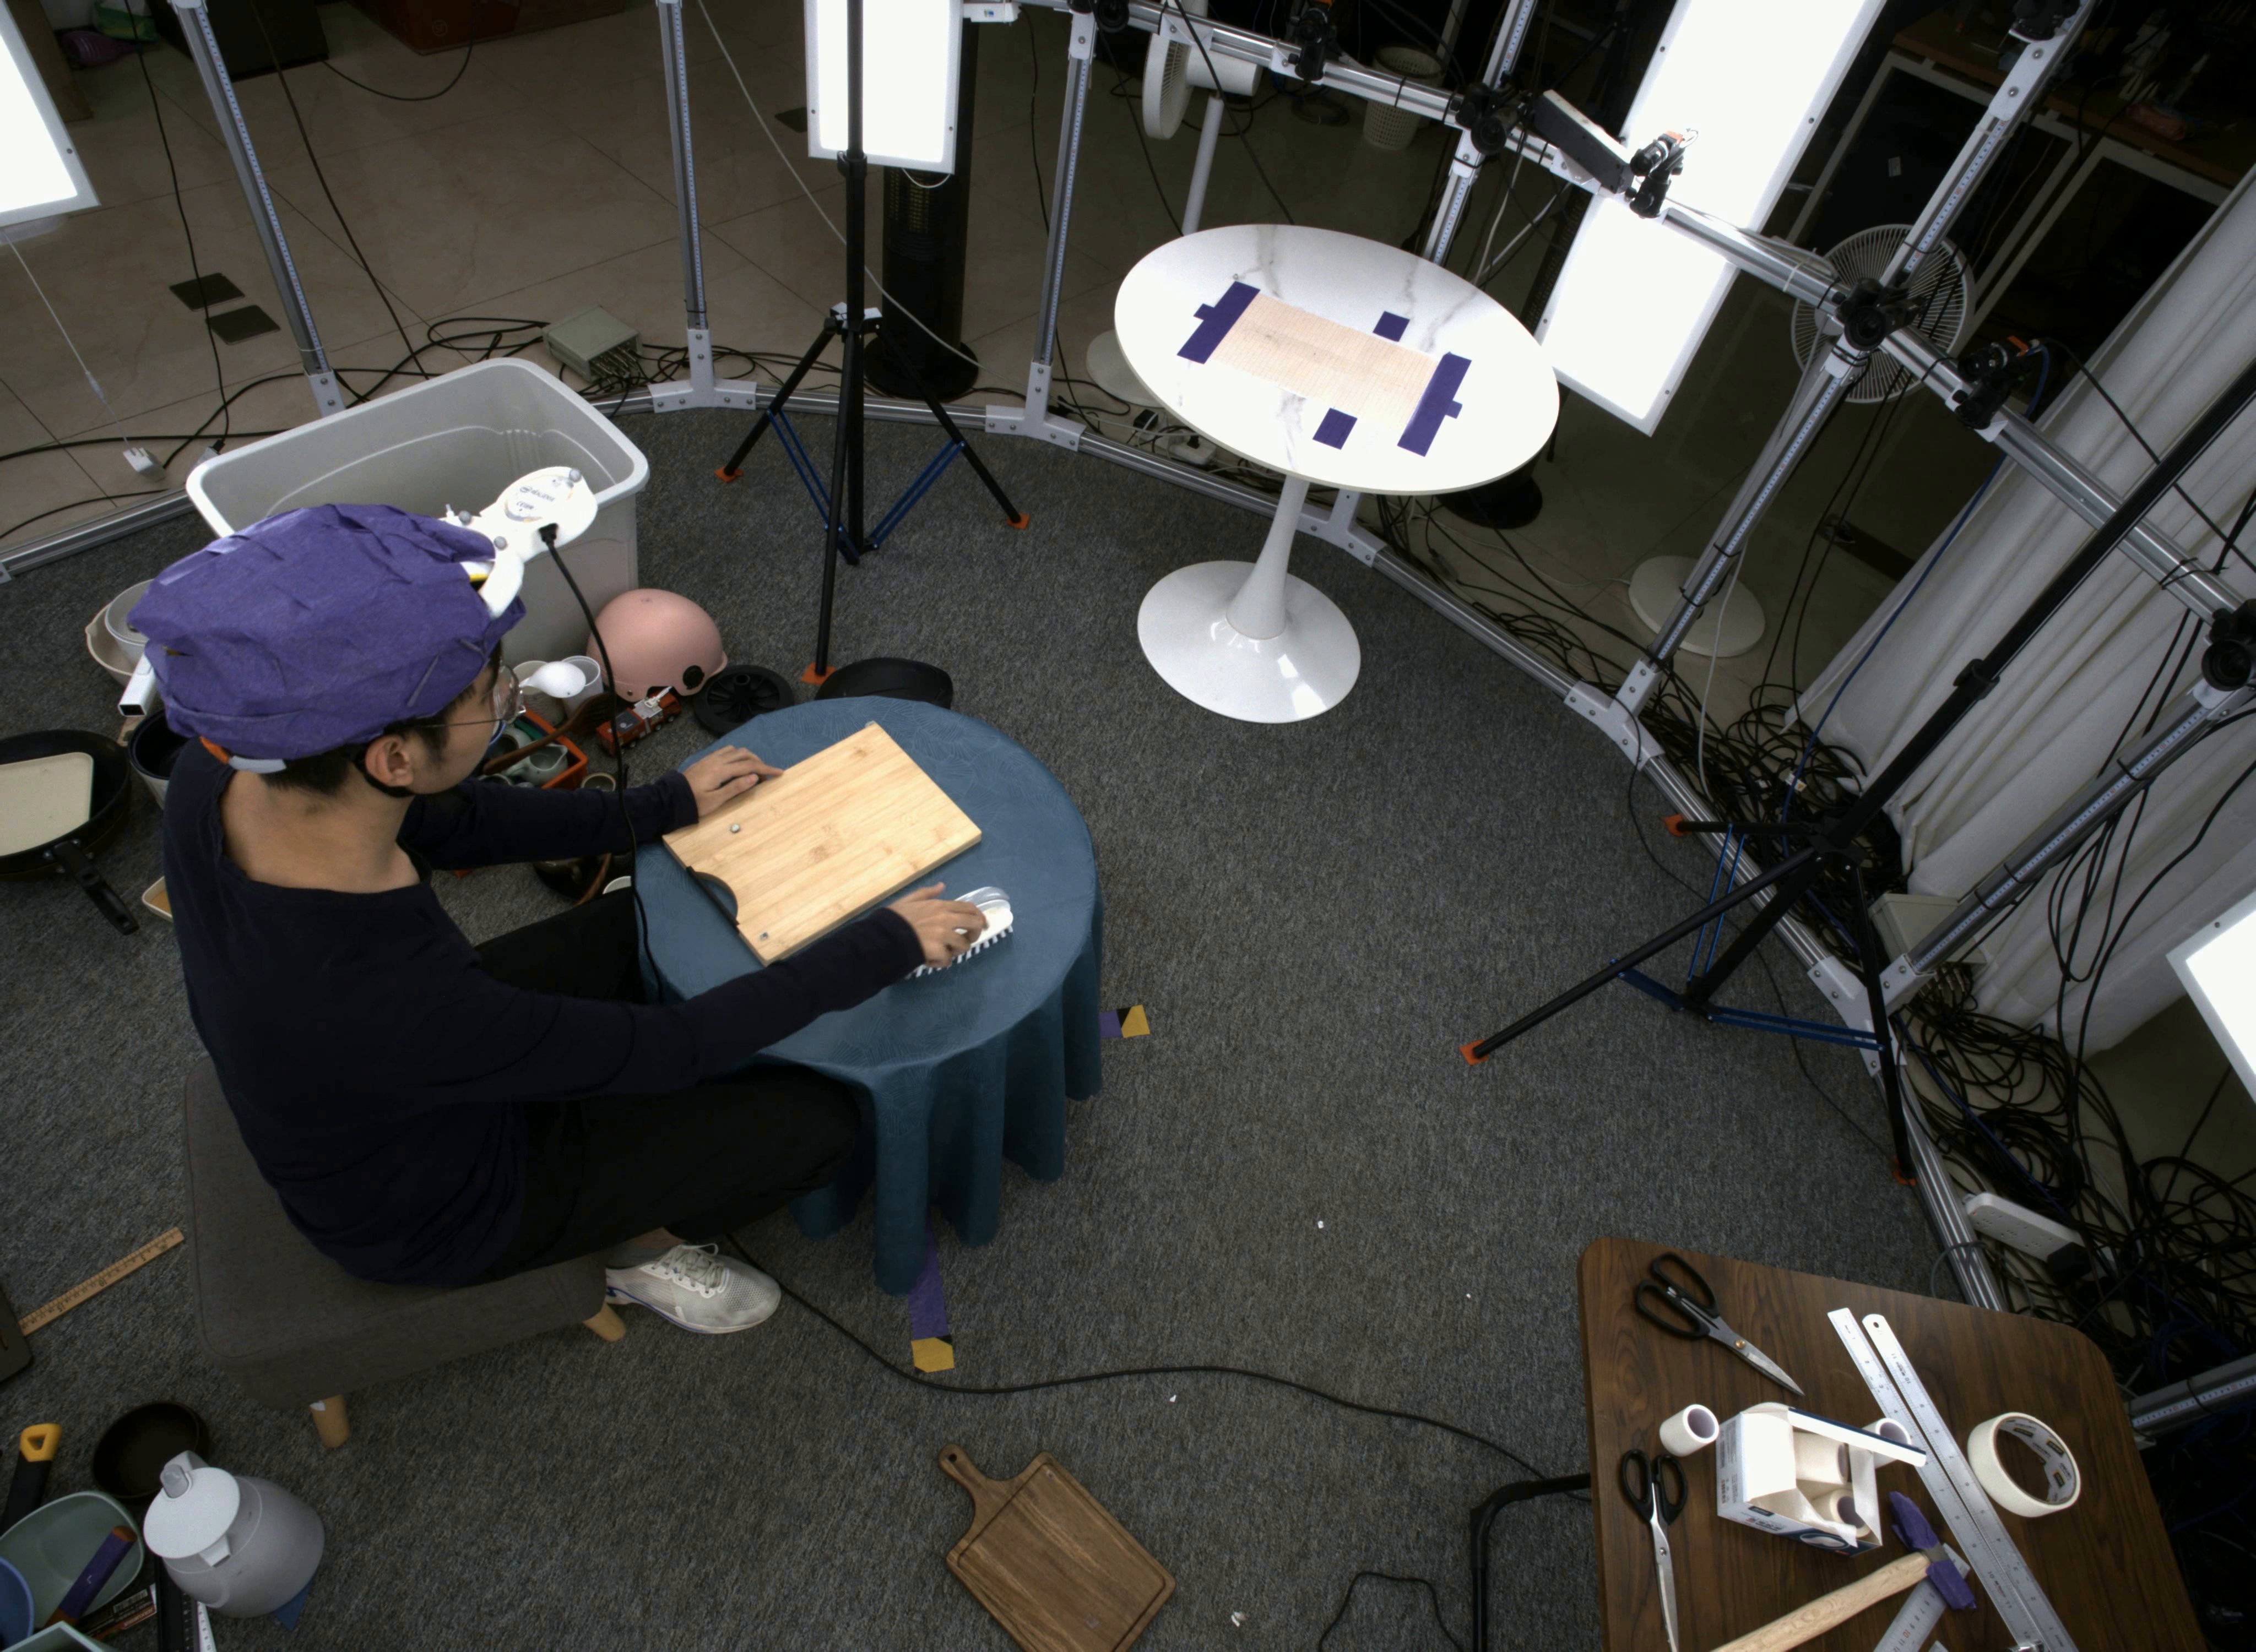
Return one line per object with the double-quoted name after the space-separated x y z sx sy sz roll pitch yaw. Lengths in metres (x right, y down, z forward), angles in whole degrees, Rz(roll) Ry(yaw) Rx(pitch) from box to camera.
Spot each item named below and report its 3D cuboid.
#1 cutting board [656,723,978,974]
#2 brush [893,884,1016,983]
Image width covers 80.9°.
-0.403 0.018 1.708 0.349 0.024 0.245 -34 67 -32 "cutting board"
-0.220 0.128 1.622 0.176 0.096 0.060 -29 62 -27 "brush"
